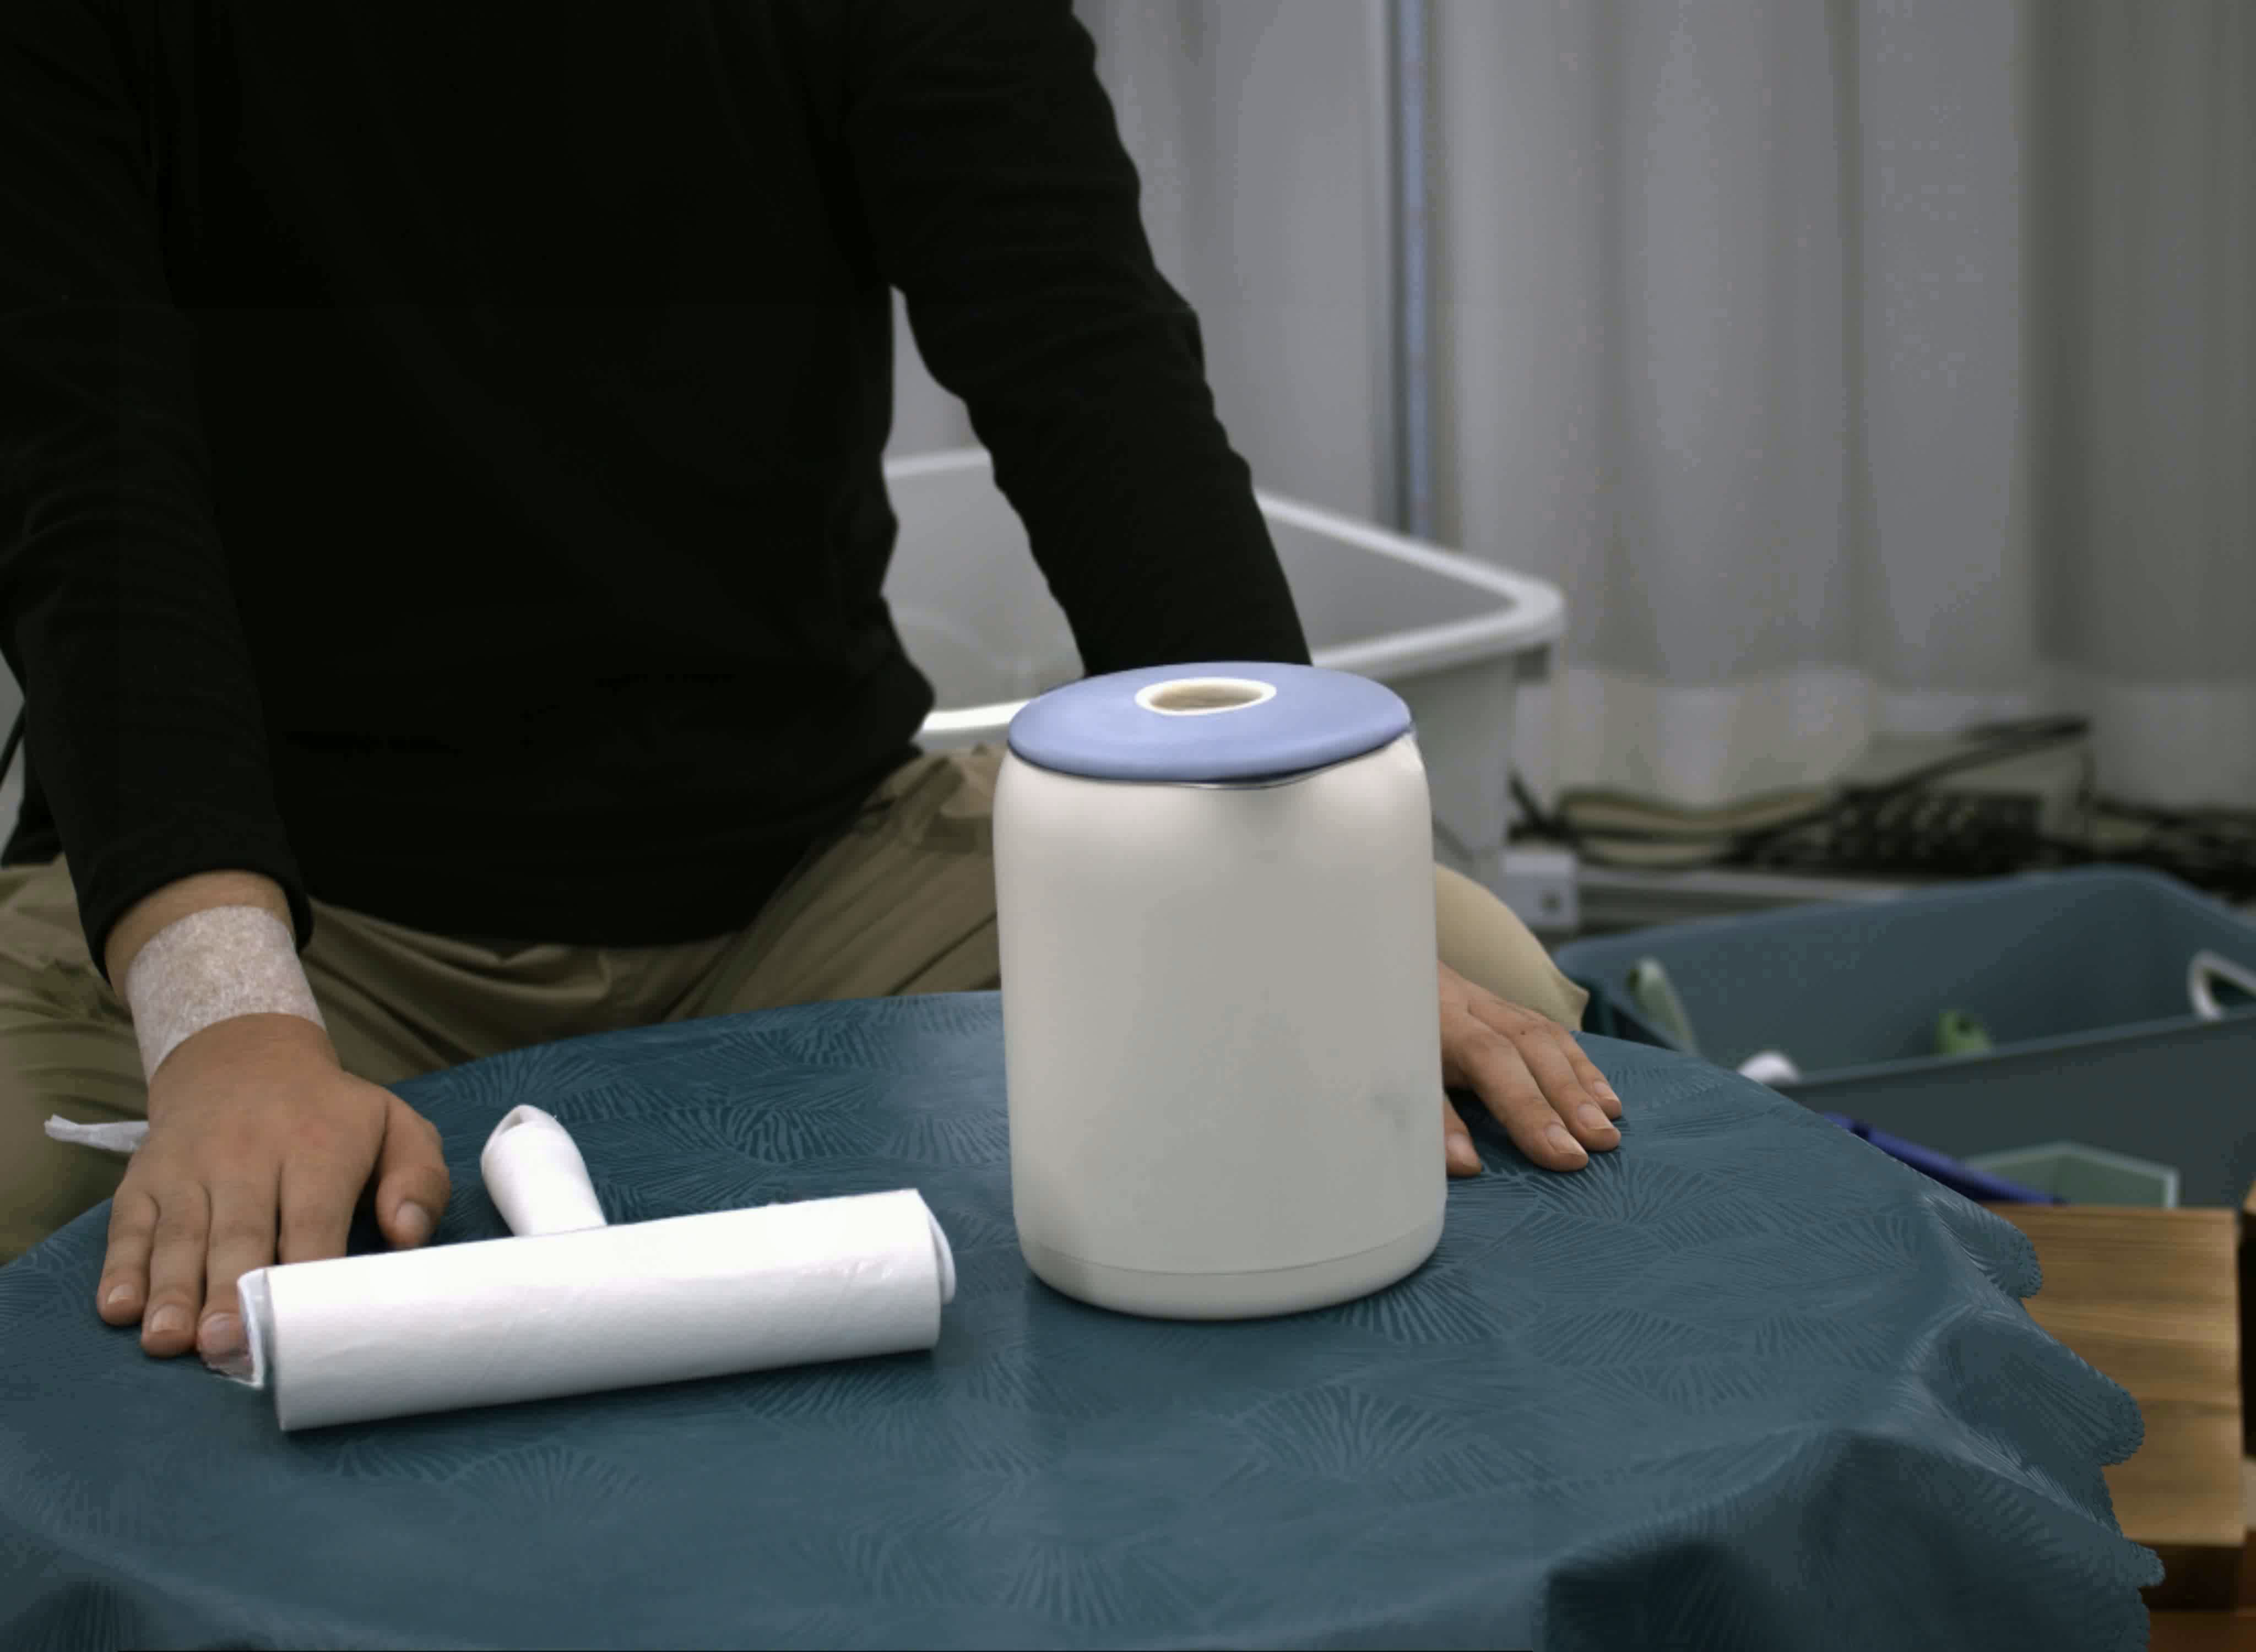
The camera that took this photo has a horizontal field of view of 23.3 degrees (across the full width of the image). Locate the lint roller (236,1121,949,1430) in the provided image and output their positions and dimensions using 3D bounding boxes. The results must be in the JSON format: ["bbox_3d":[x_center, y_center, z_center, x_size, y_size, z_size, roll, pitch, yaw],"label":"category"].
[{"bbox_3d":[-0.173,0.118,1.651,0.202,0.048,0.227,-8,14,-13],"label":"lint roller"}]

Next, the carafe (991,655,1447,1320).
[{"bbox_3d":[0.021,0.042,1.653,0.131,0.182,0.192,-6,12,-14],"label":"carafe"}]
